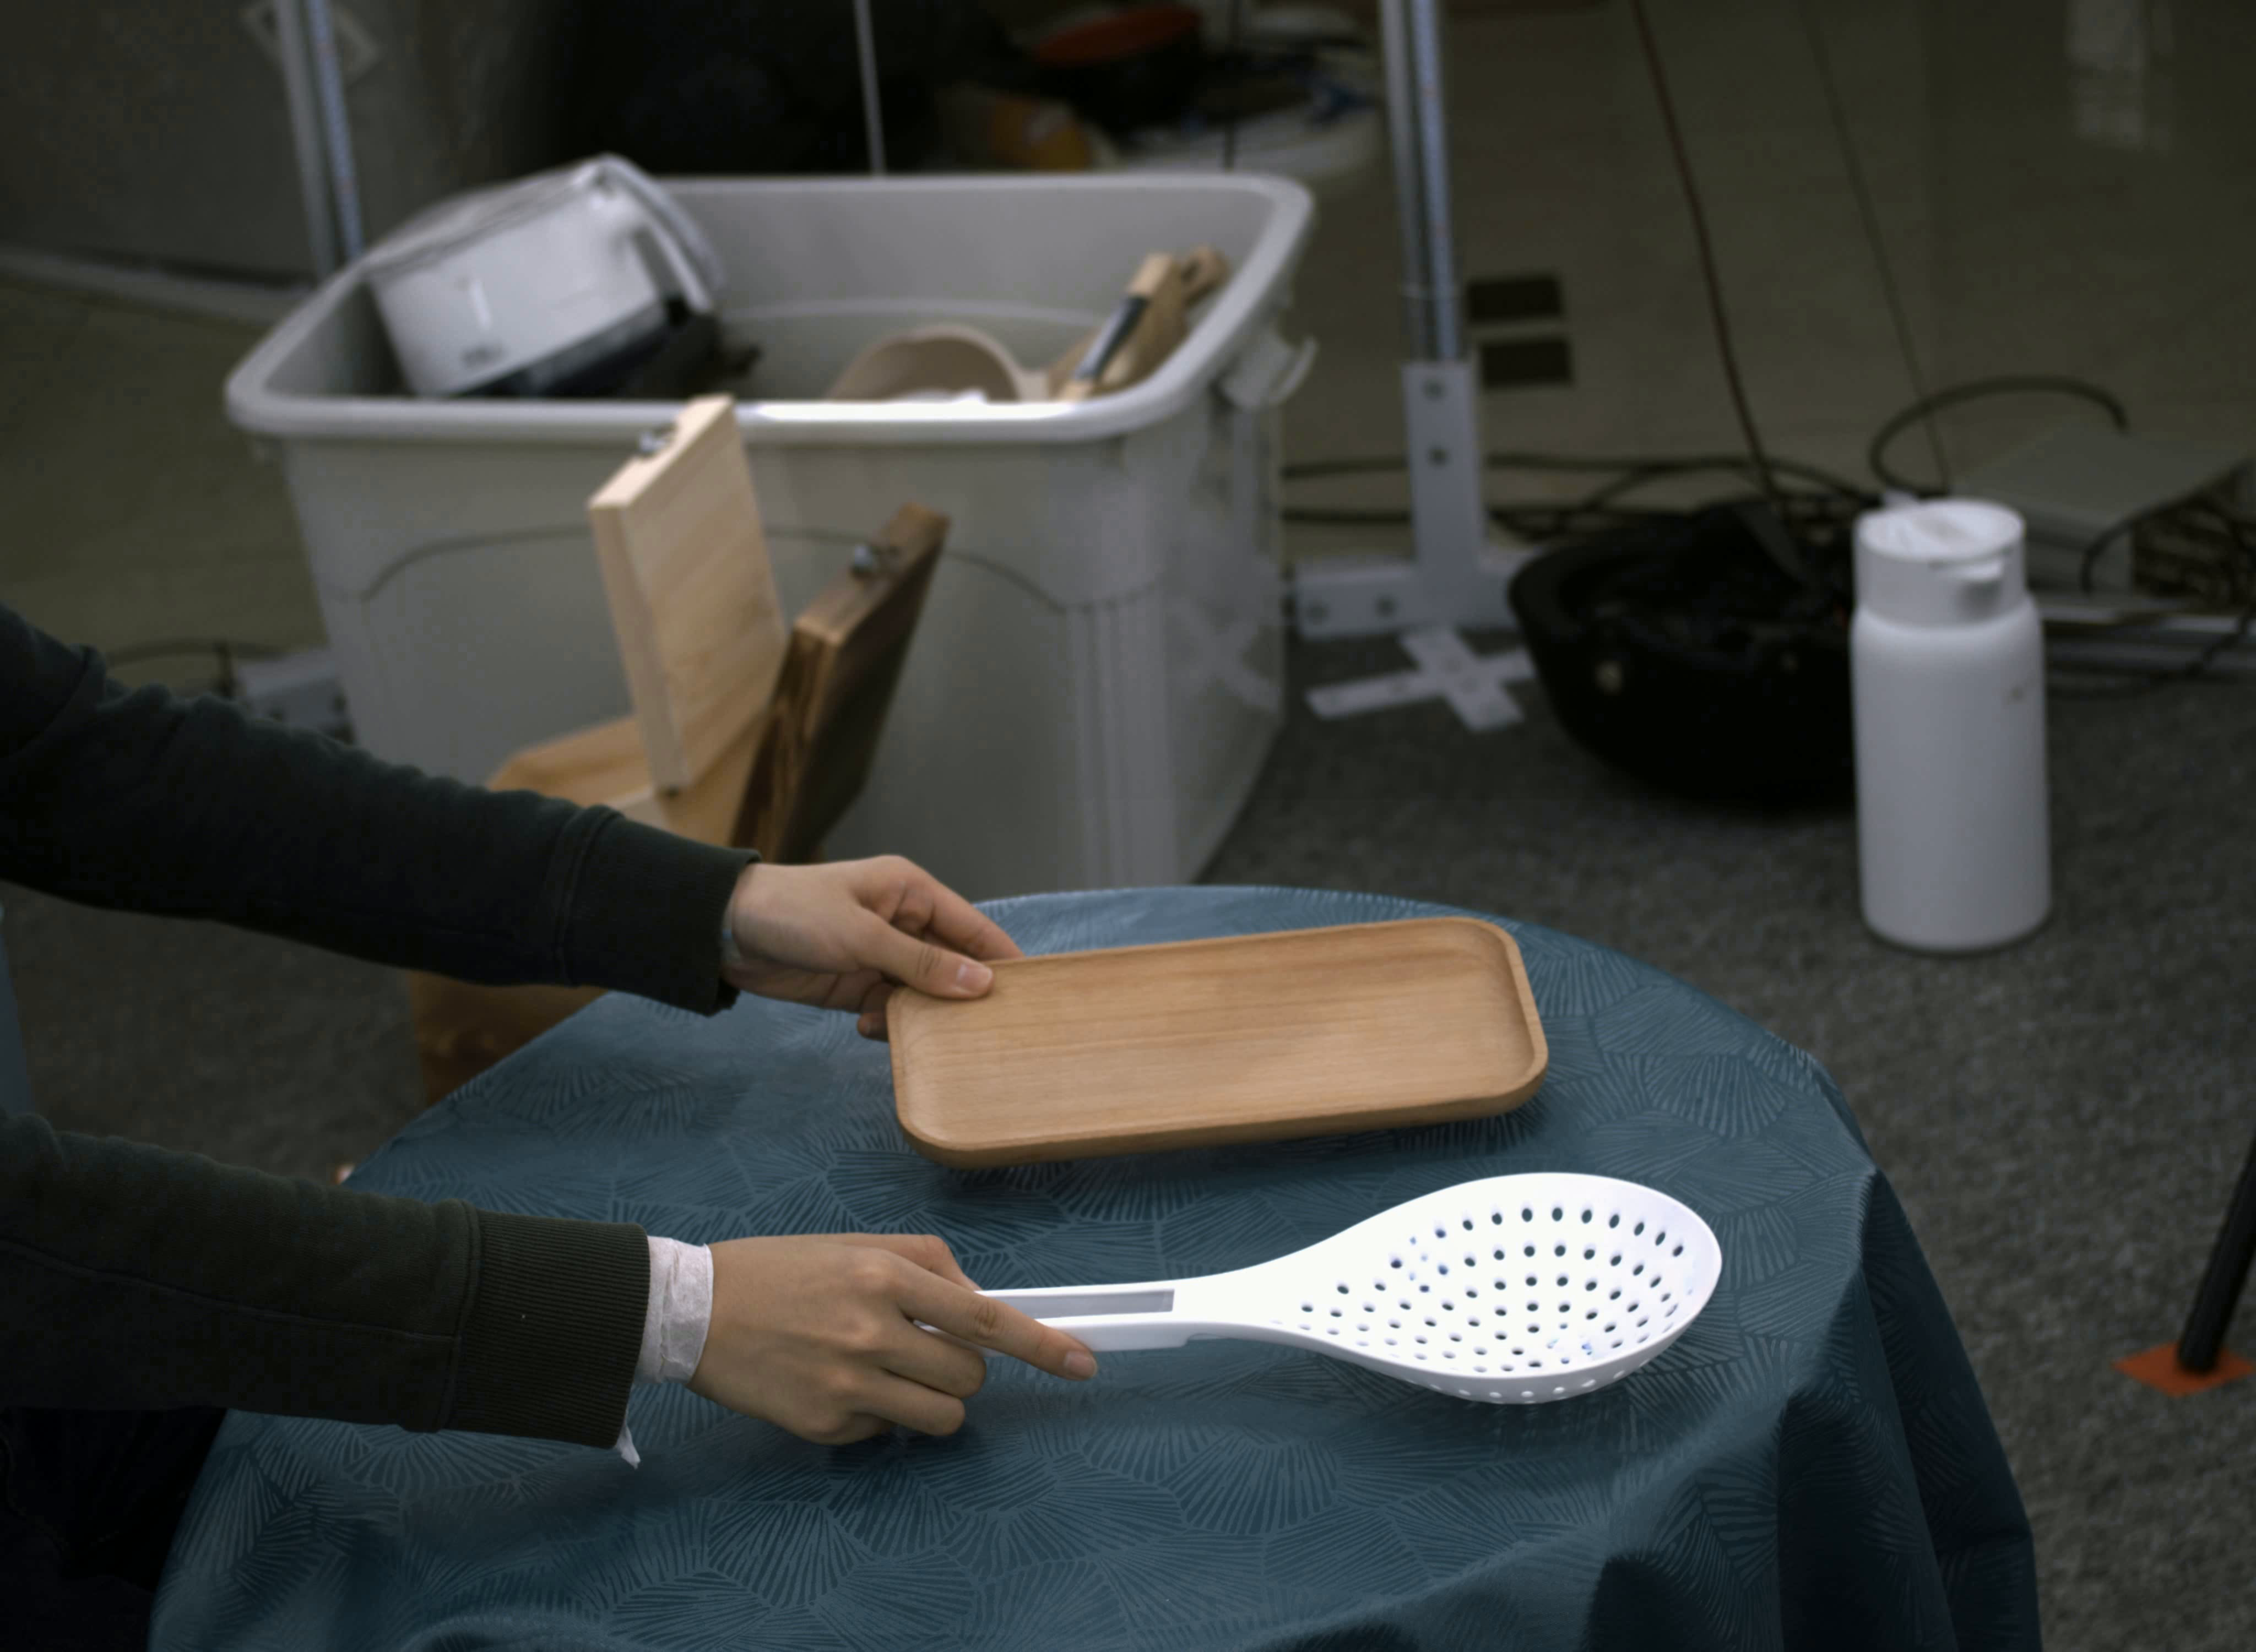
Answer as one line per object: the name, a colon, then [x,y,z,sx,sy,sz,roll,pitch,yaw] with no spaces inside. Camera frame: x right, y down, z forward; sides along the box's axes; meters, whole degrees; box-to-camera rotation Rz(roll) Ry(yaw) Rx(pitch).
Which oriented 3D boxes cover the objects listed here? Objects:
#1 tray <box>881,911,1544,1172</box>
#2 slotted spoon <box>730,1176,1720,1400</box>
tray: [0.031,0.083,2.192,0.250,0.023,0.128,-6,31,-2]
slotted spoon: [0.032,0.169,2.001,0.349,0.046,0.134,0,26,4]
